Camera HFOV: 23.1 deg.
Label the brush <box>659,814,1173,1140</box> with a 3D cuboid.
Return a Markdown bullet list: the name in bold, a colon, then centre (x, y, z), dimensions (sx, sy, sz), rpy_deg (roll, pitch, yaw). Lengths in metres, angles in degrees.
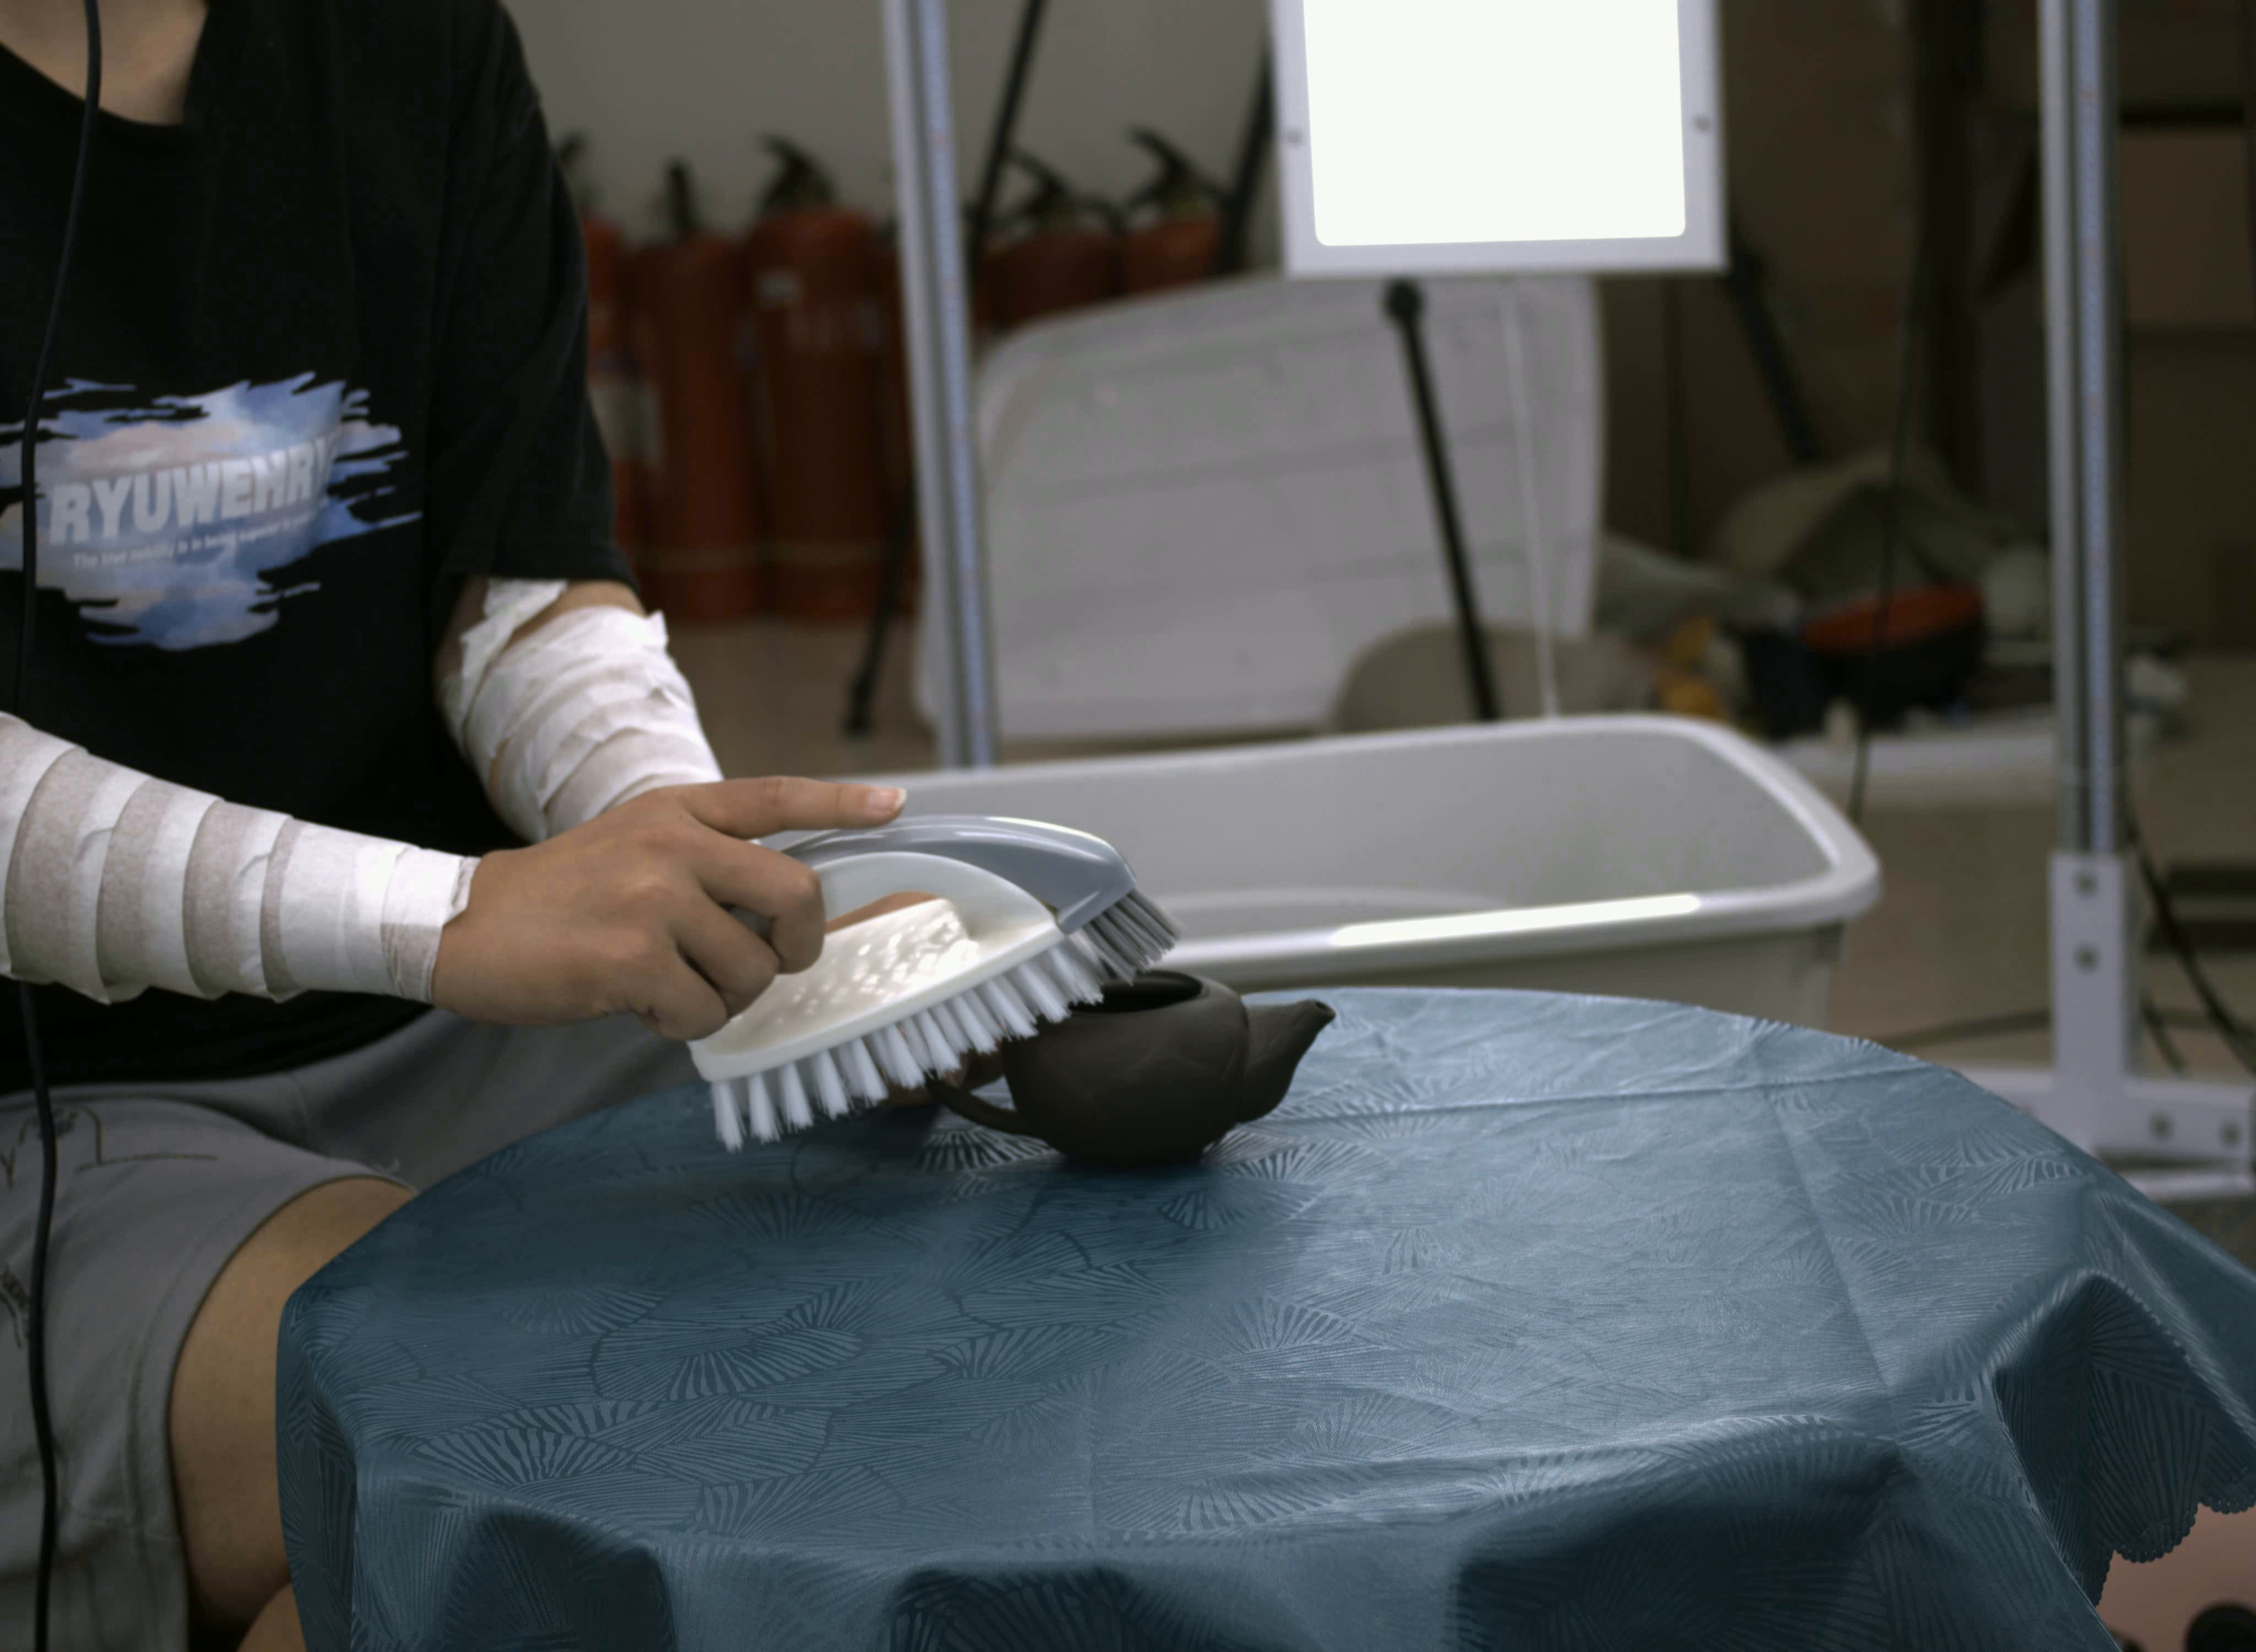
- **brush**: centre (-0.078, 0.036, 1.909), dimensions (0.176, 0.094, 0.061), rpy_deg (-20, 33, 7)

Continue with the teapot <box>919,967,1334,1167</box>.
- **teapot**: centre (-0.002, 0.083, 1.941), dimensions (0.156, 0.064, 0.091), rpy_deg (0, 14, 15)
